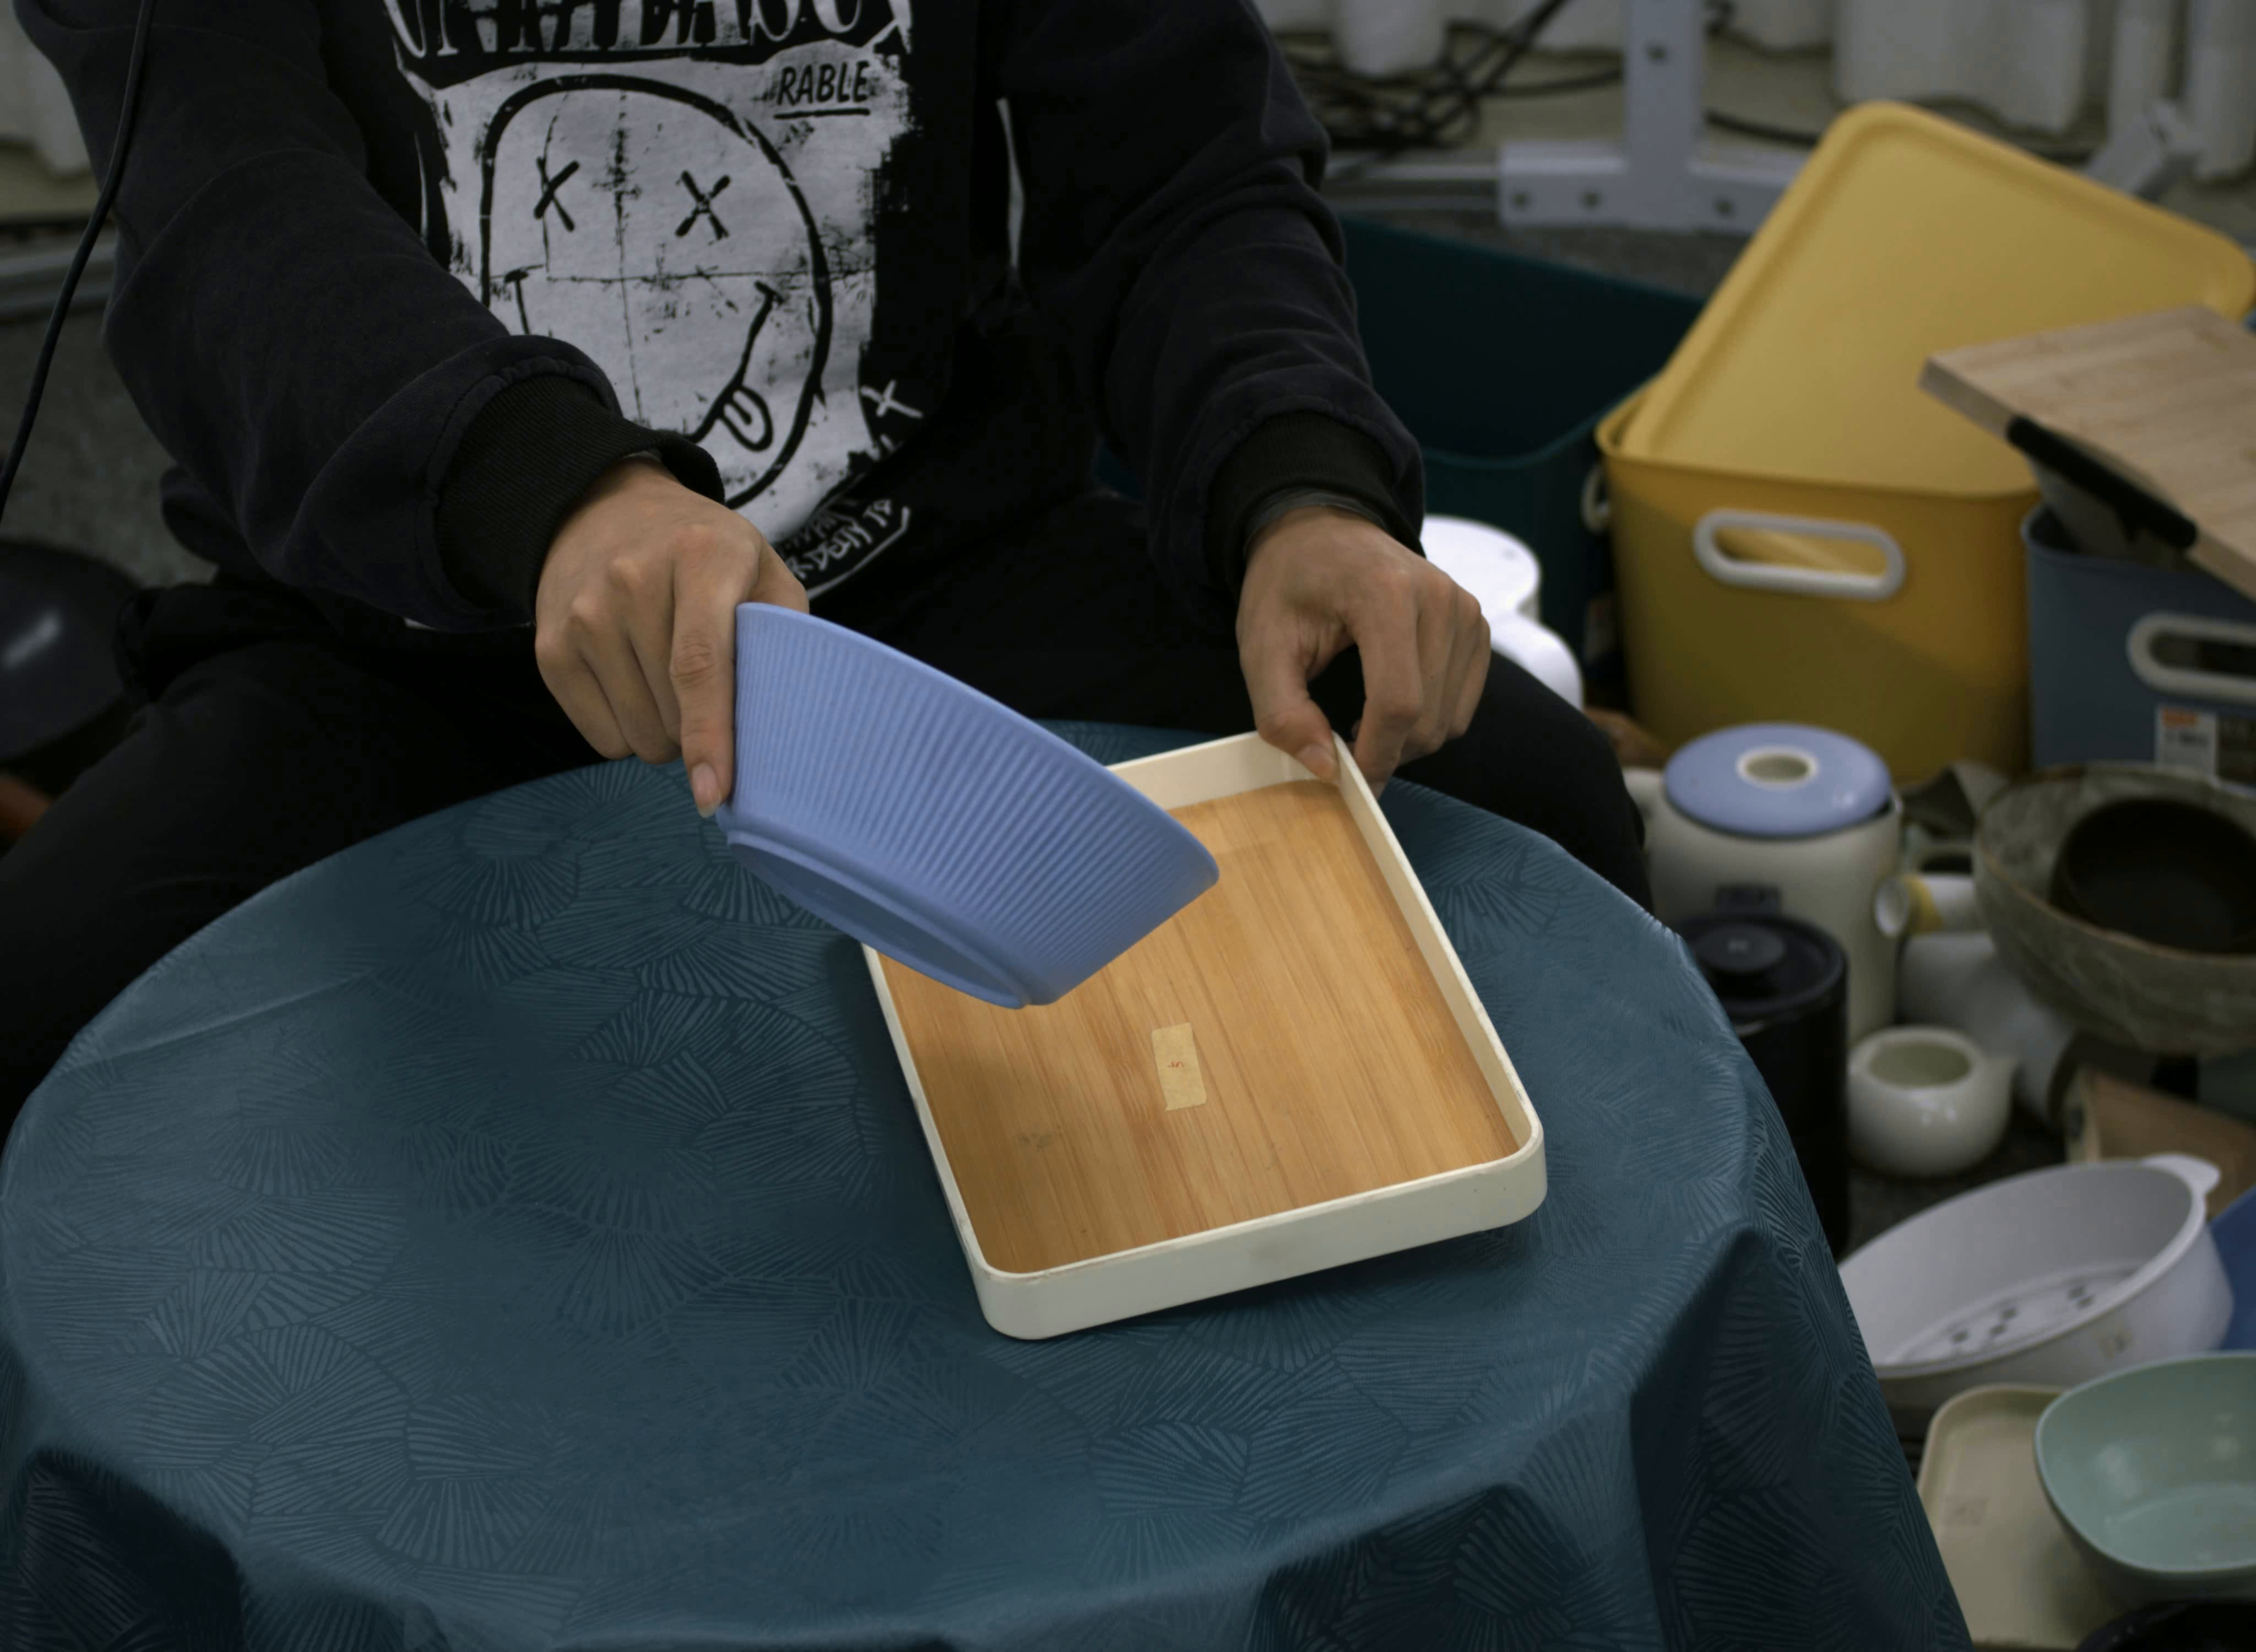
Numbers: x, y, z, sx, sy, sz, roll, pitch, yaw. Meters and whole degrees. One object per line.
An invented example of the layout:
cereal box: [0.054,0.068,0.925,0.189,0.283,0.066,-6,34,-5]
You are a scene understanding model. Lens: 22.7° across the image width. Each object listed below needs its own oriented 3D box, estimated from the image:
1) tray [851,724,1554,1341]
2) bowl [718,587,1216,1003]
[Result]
tray: [0.017,0.064,1.912,0.191,0.027,0.304,-13,31,-6]
bowl: [-0.063,-0.001,1.777,0.176,0.175,0.071,23,78,40]
